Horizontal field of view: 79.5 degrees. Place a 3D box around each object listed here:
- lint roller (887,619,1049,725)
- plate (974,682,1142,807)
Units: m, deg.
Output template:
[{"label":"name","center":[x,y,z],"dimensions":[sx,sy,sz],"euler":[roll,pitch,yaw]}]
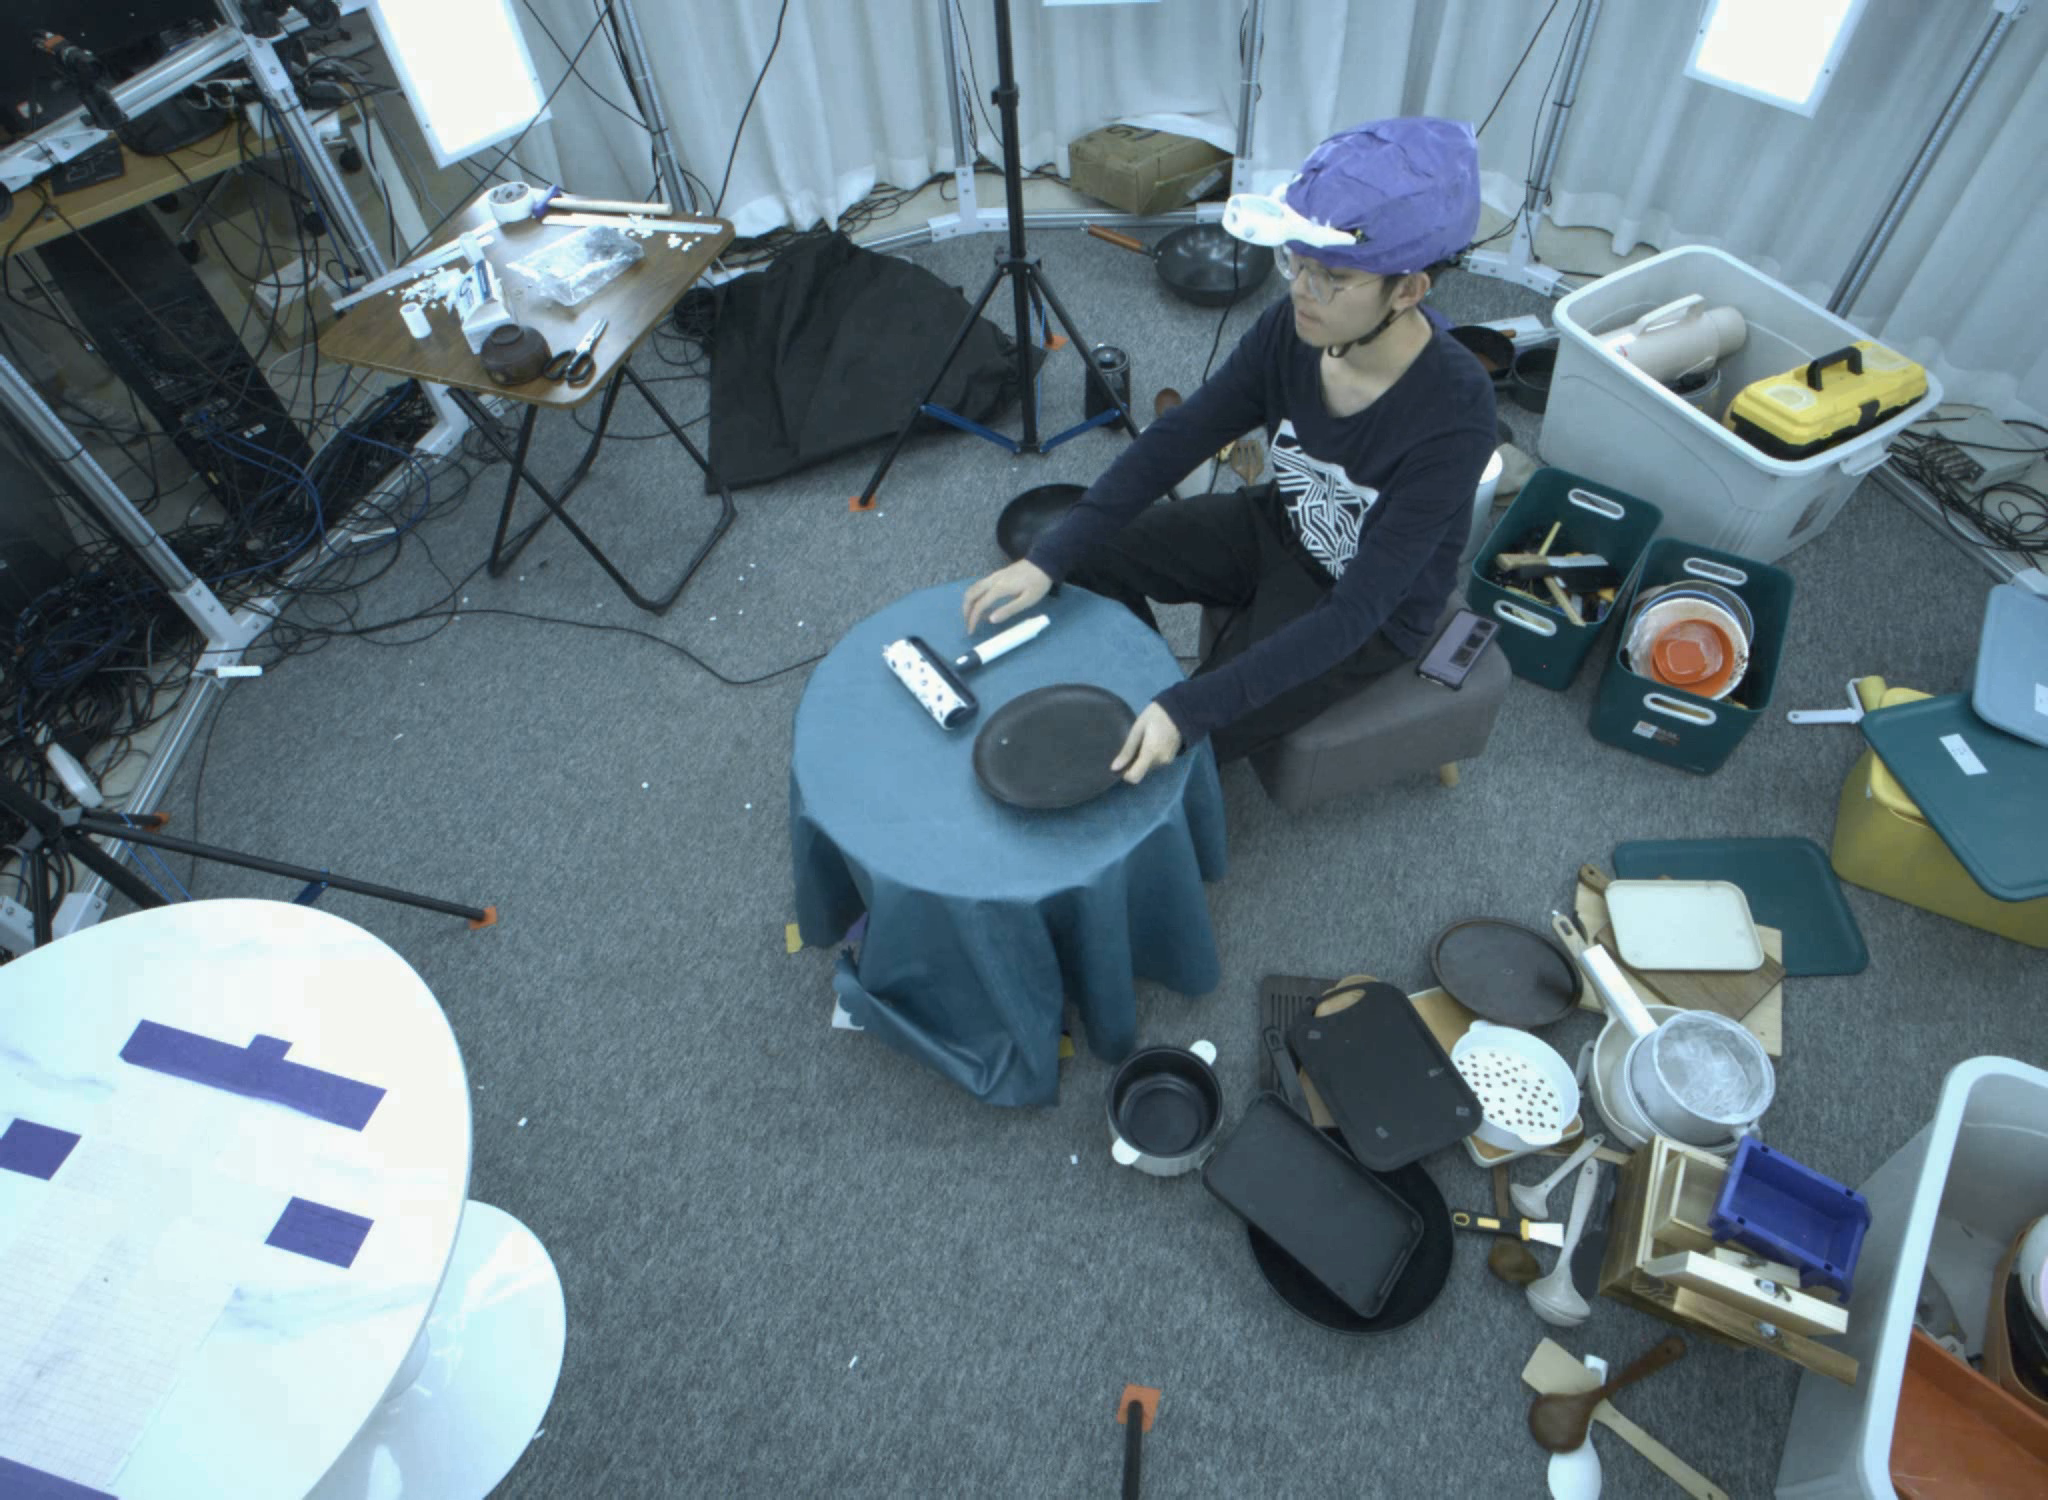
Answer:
[{"label":"lint roller","center":[-0.066,-0.149,1.879],"dimensions":[0.249,0.051,0.173],"euler":[-30,58,-22]},{"label":"plate","center":[0.048,-0.005,1.762],"dimensions":[0.243,0.024,0.242],"euler":[-6,46,8]}]
